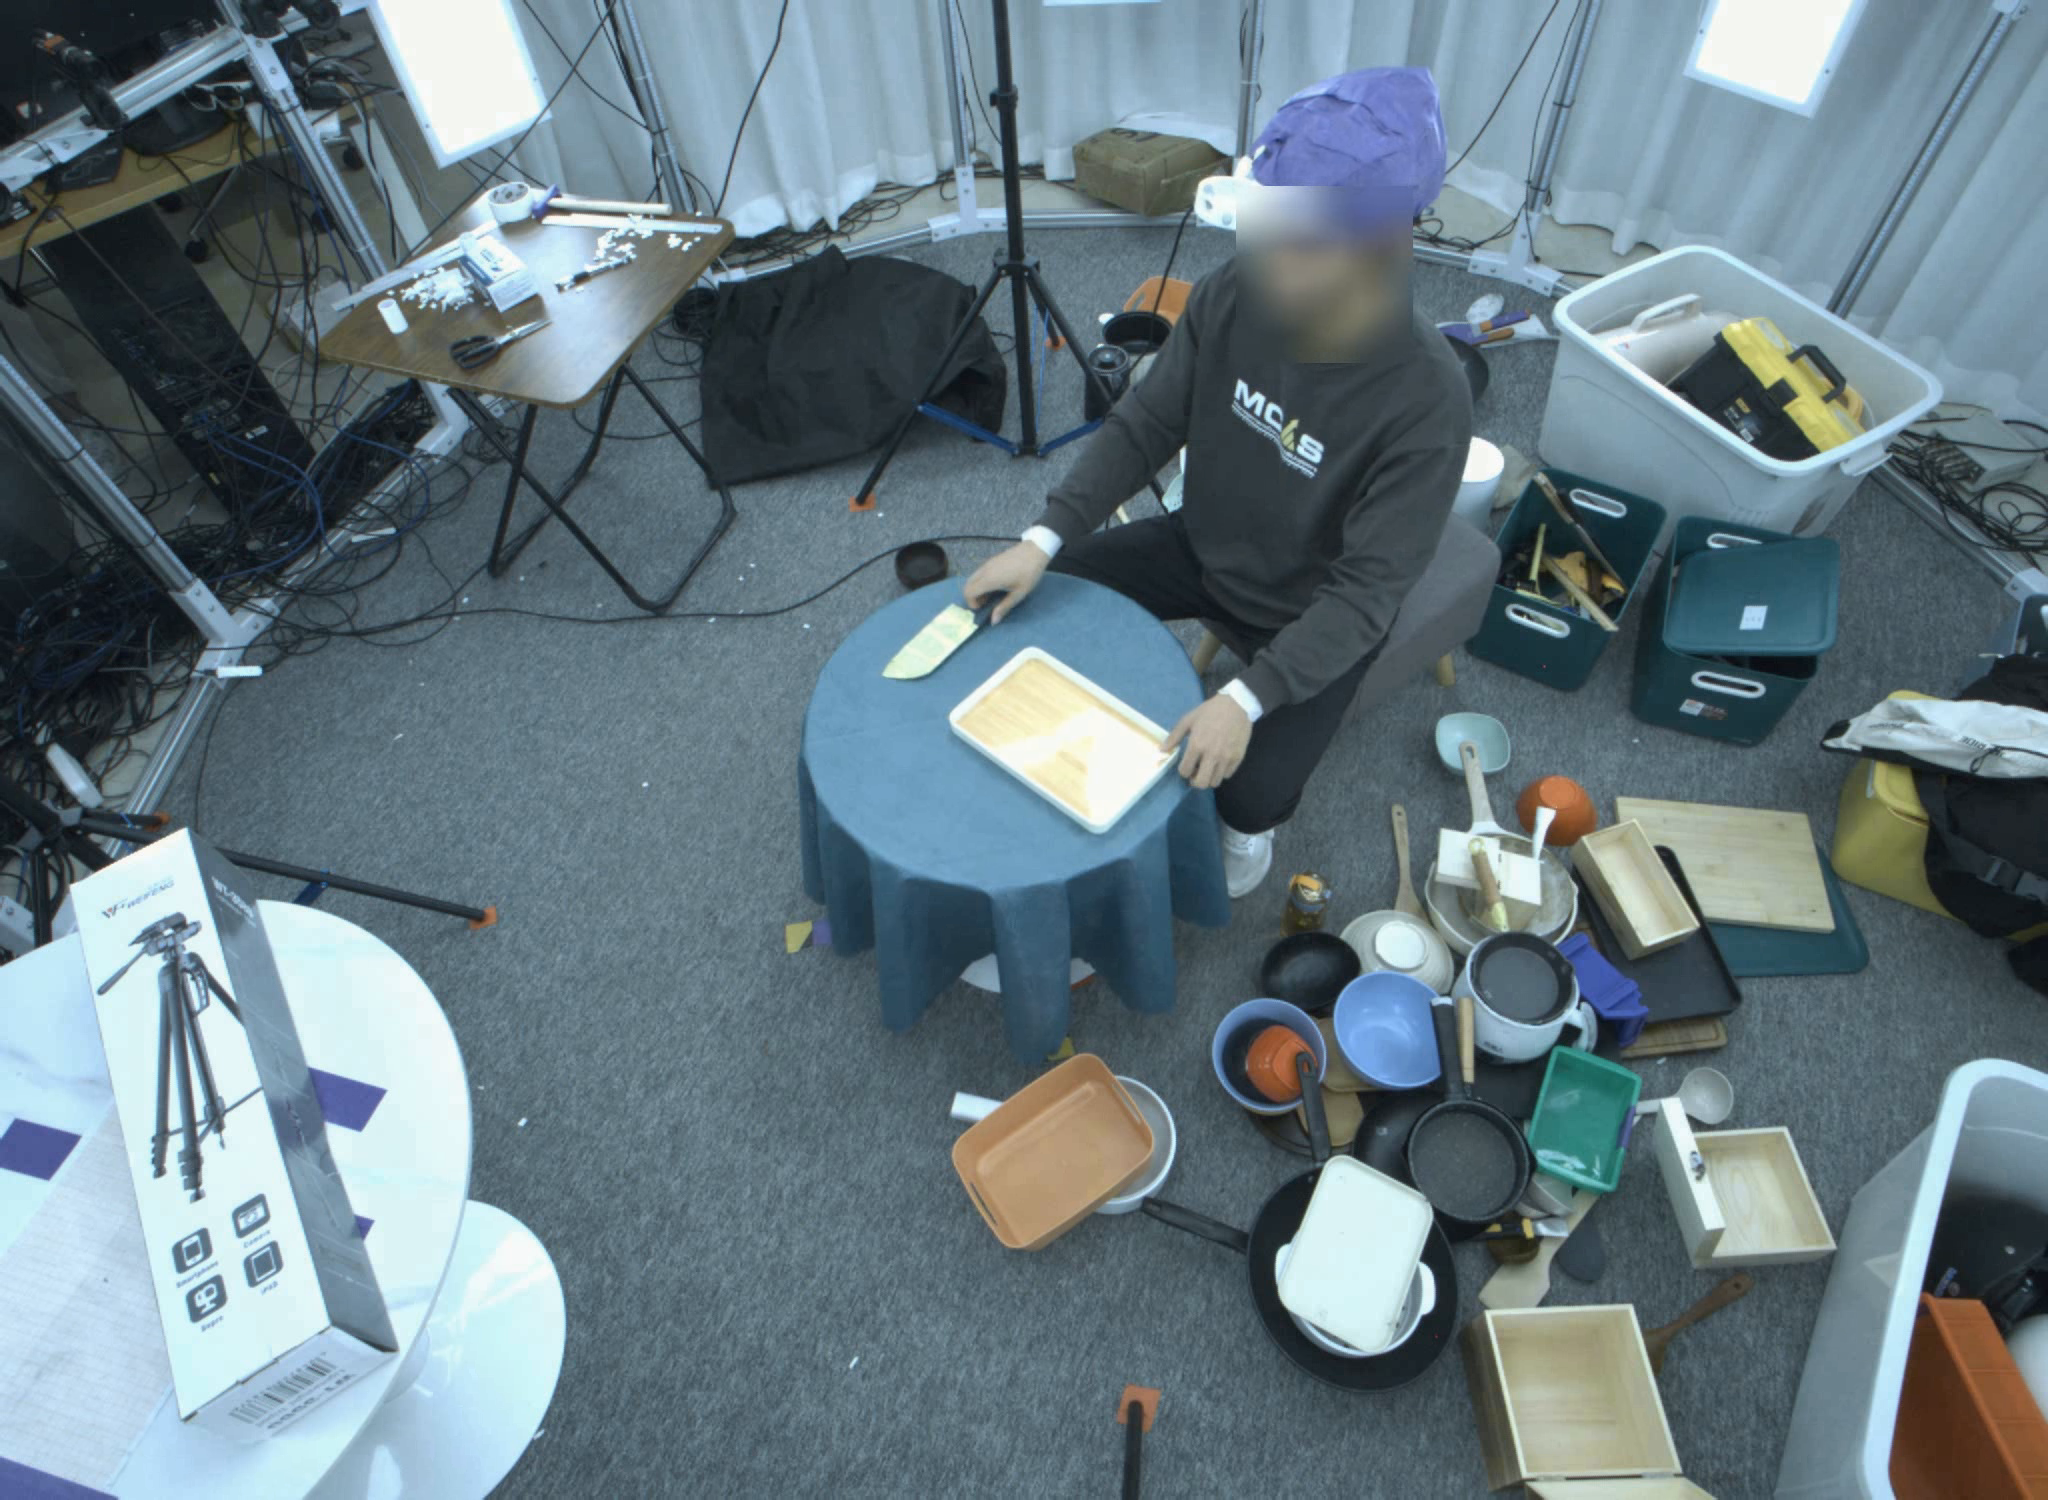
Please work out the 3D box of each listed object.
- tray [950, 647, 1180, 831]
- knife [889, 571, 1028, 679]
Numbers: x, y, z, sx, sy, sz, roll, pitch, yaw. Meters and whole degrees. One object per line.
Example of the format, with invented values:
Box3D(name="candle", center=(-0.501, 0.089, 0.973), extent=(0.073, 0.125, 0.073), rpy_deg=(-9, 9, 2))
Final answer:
Box3D(name="tray", center=(0.057, -0.022, 1.793), extent=(0.295, 0.027, 0.193), rpy_deg=(36, 62, 23))
Box3D(name="knife", center=(-0.104, -0.200, 1.932), extent=(0.079, 0.027, 0.291), rpy_deg=(36, 63, 26))
